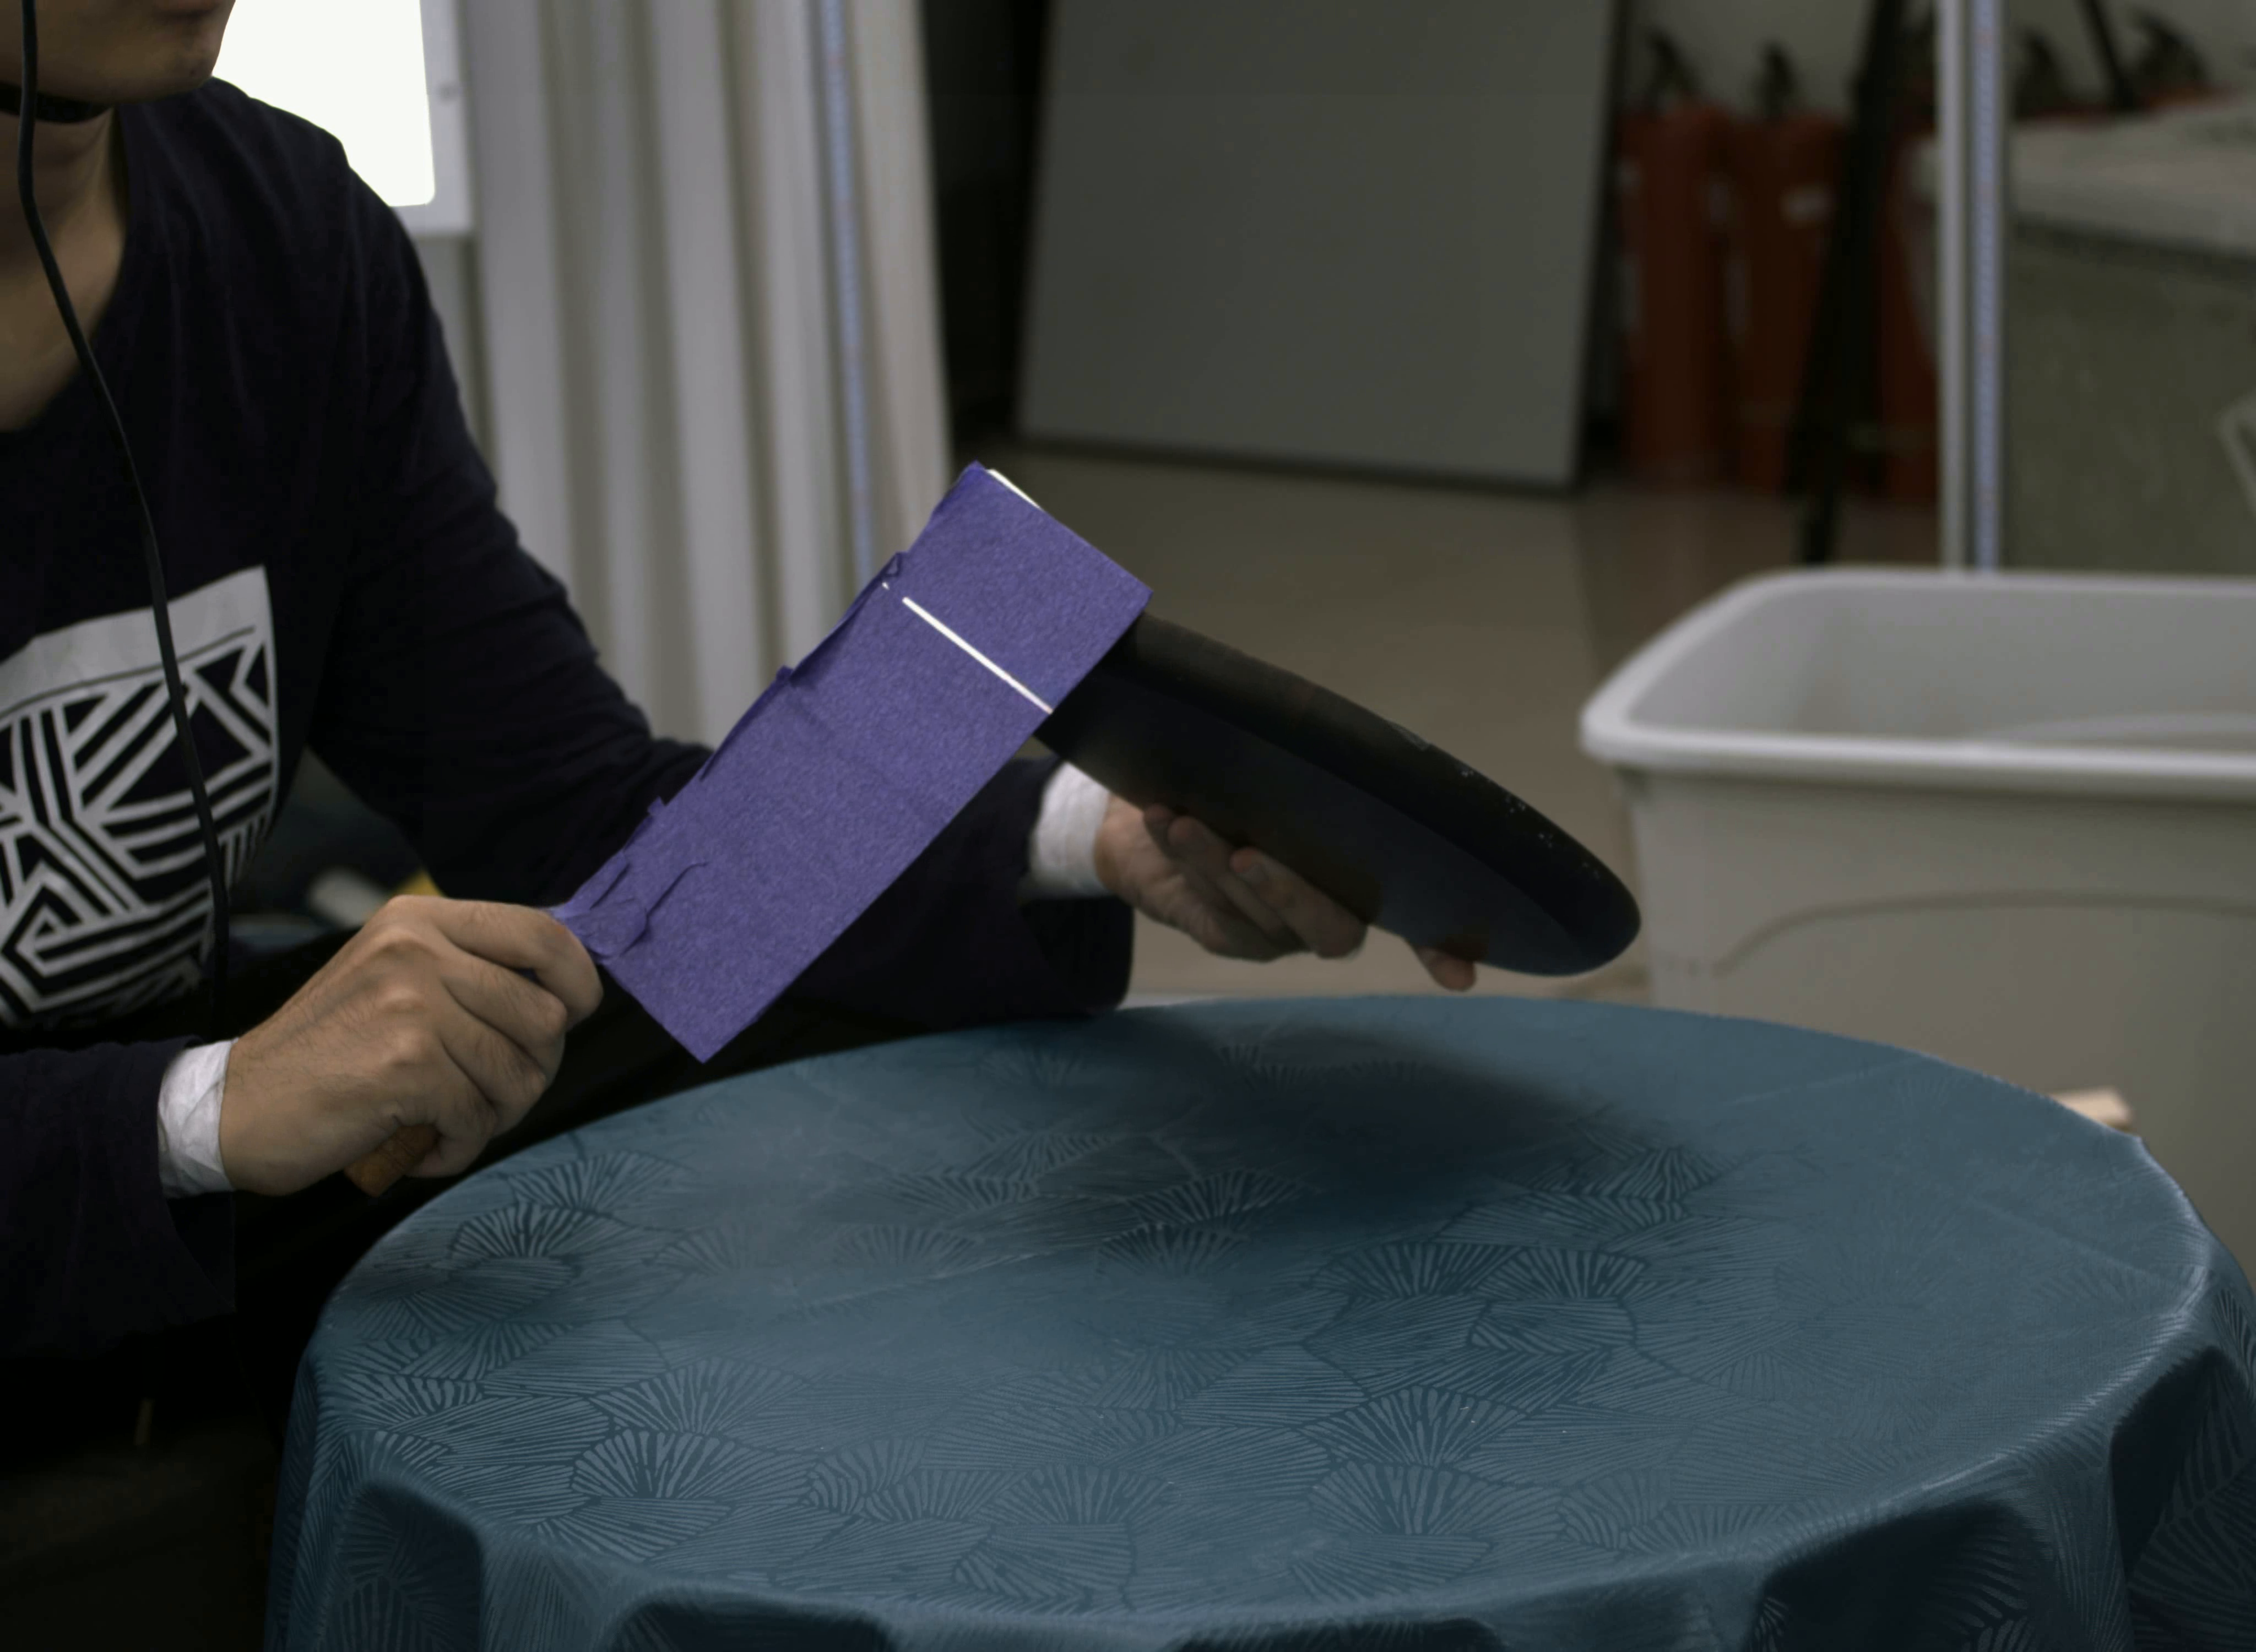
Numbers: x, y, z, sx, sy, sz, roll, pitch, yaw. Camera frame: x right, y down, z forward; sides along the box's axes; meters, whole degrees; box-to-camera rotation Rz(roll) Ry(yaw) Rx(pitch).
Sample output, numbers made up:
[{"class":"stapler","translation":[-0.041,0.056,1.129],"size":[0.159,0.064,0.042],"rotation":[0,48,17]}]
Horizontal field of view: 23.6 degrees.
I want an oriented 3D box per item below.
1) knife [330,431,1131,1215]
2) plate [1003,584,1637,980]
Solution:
[{"class":"knife","translation":[-0.125,0.012,1.714],"size":[0.105,0.315,0.032],"rotation":[39,-2,39]},{"class":"plate","translation":[0.053,-0.014,1.796],"size":[0.253,0.029,0.255],"rotation":[27,-10,4]}]
